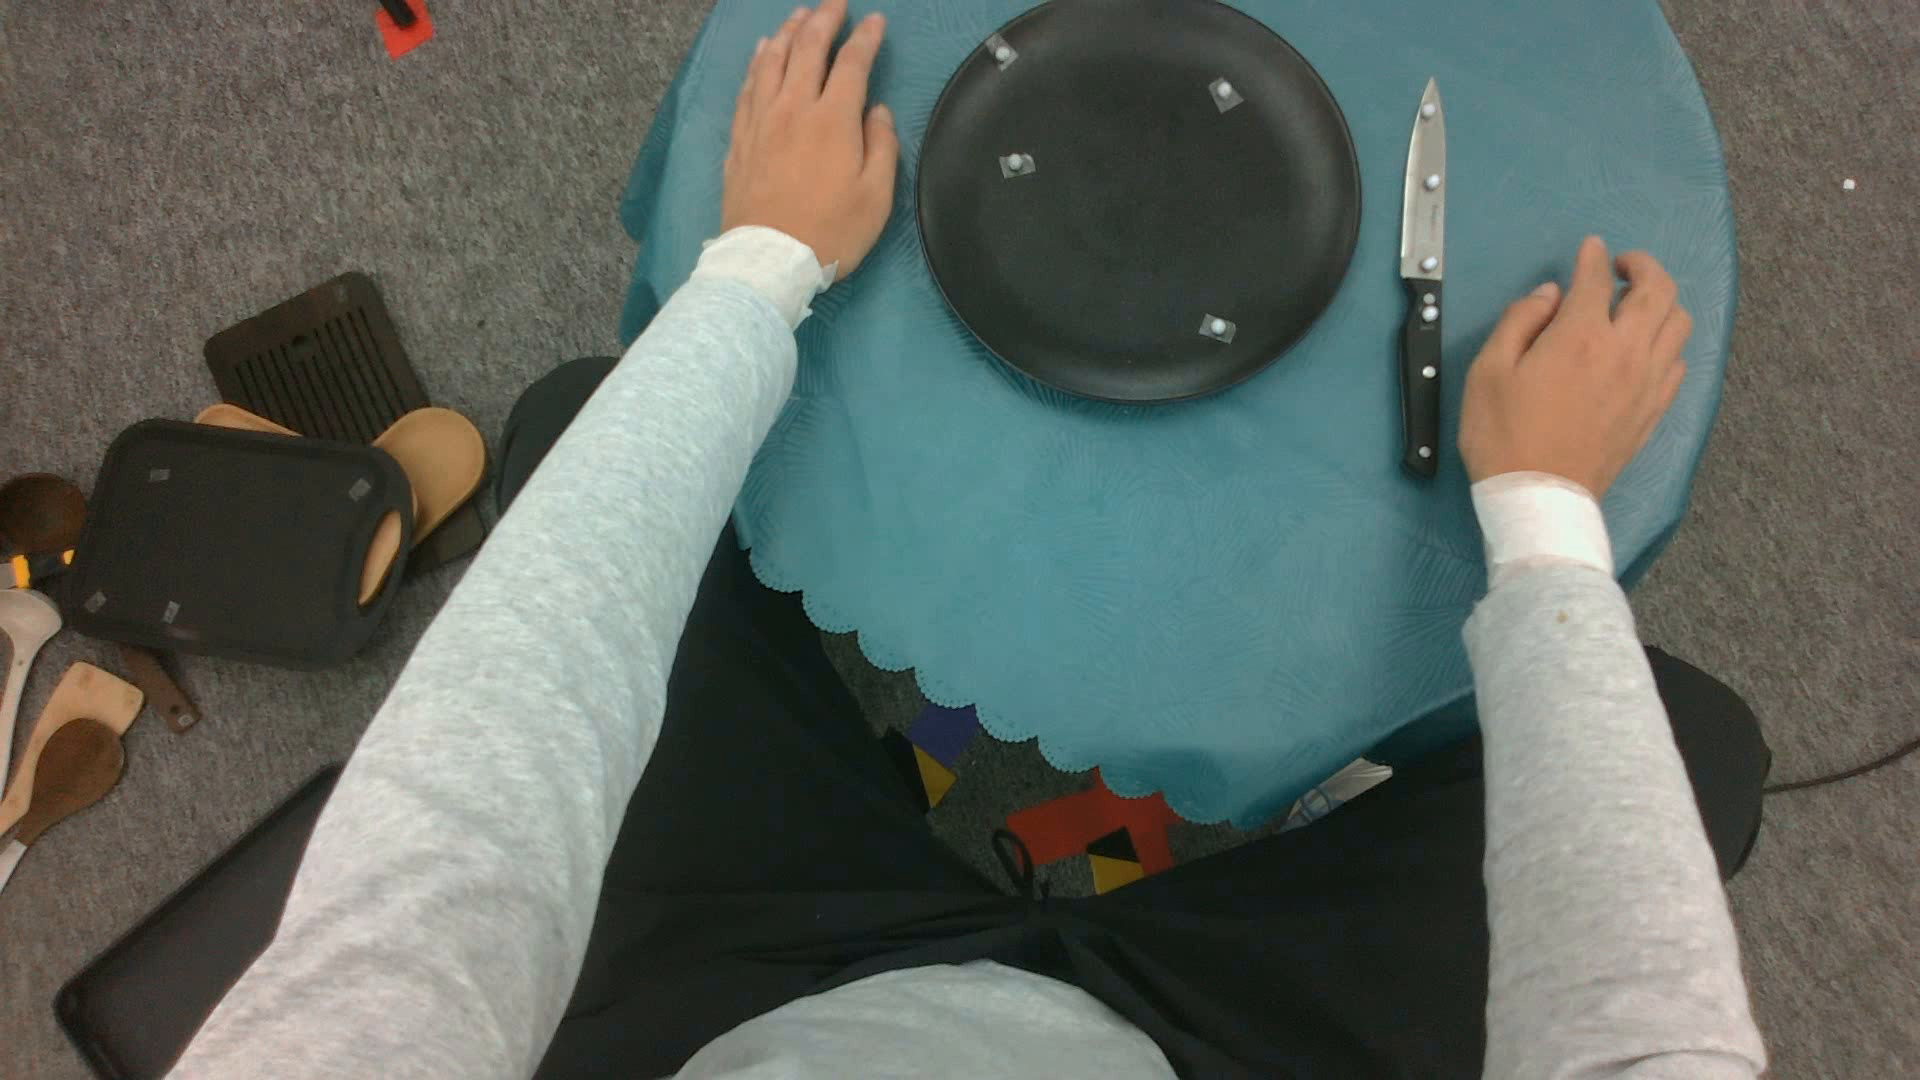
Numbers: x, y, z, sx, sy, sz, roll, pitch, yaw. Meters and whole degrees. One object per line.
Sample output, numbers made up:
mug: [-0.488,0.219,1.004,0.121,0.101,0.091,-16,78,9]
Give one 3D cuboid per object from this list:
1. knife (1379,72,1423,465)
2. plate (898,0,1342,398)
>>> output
knife: [0.244,-0.154,0.760,0.024,0.016,0.239,5,75,-1]
plate: [0.087,-0.193,0.761,0.244,0.023,0.245,0,78,-1]
